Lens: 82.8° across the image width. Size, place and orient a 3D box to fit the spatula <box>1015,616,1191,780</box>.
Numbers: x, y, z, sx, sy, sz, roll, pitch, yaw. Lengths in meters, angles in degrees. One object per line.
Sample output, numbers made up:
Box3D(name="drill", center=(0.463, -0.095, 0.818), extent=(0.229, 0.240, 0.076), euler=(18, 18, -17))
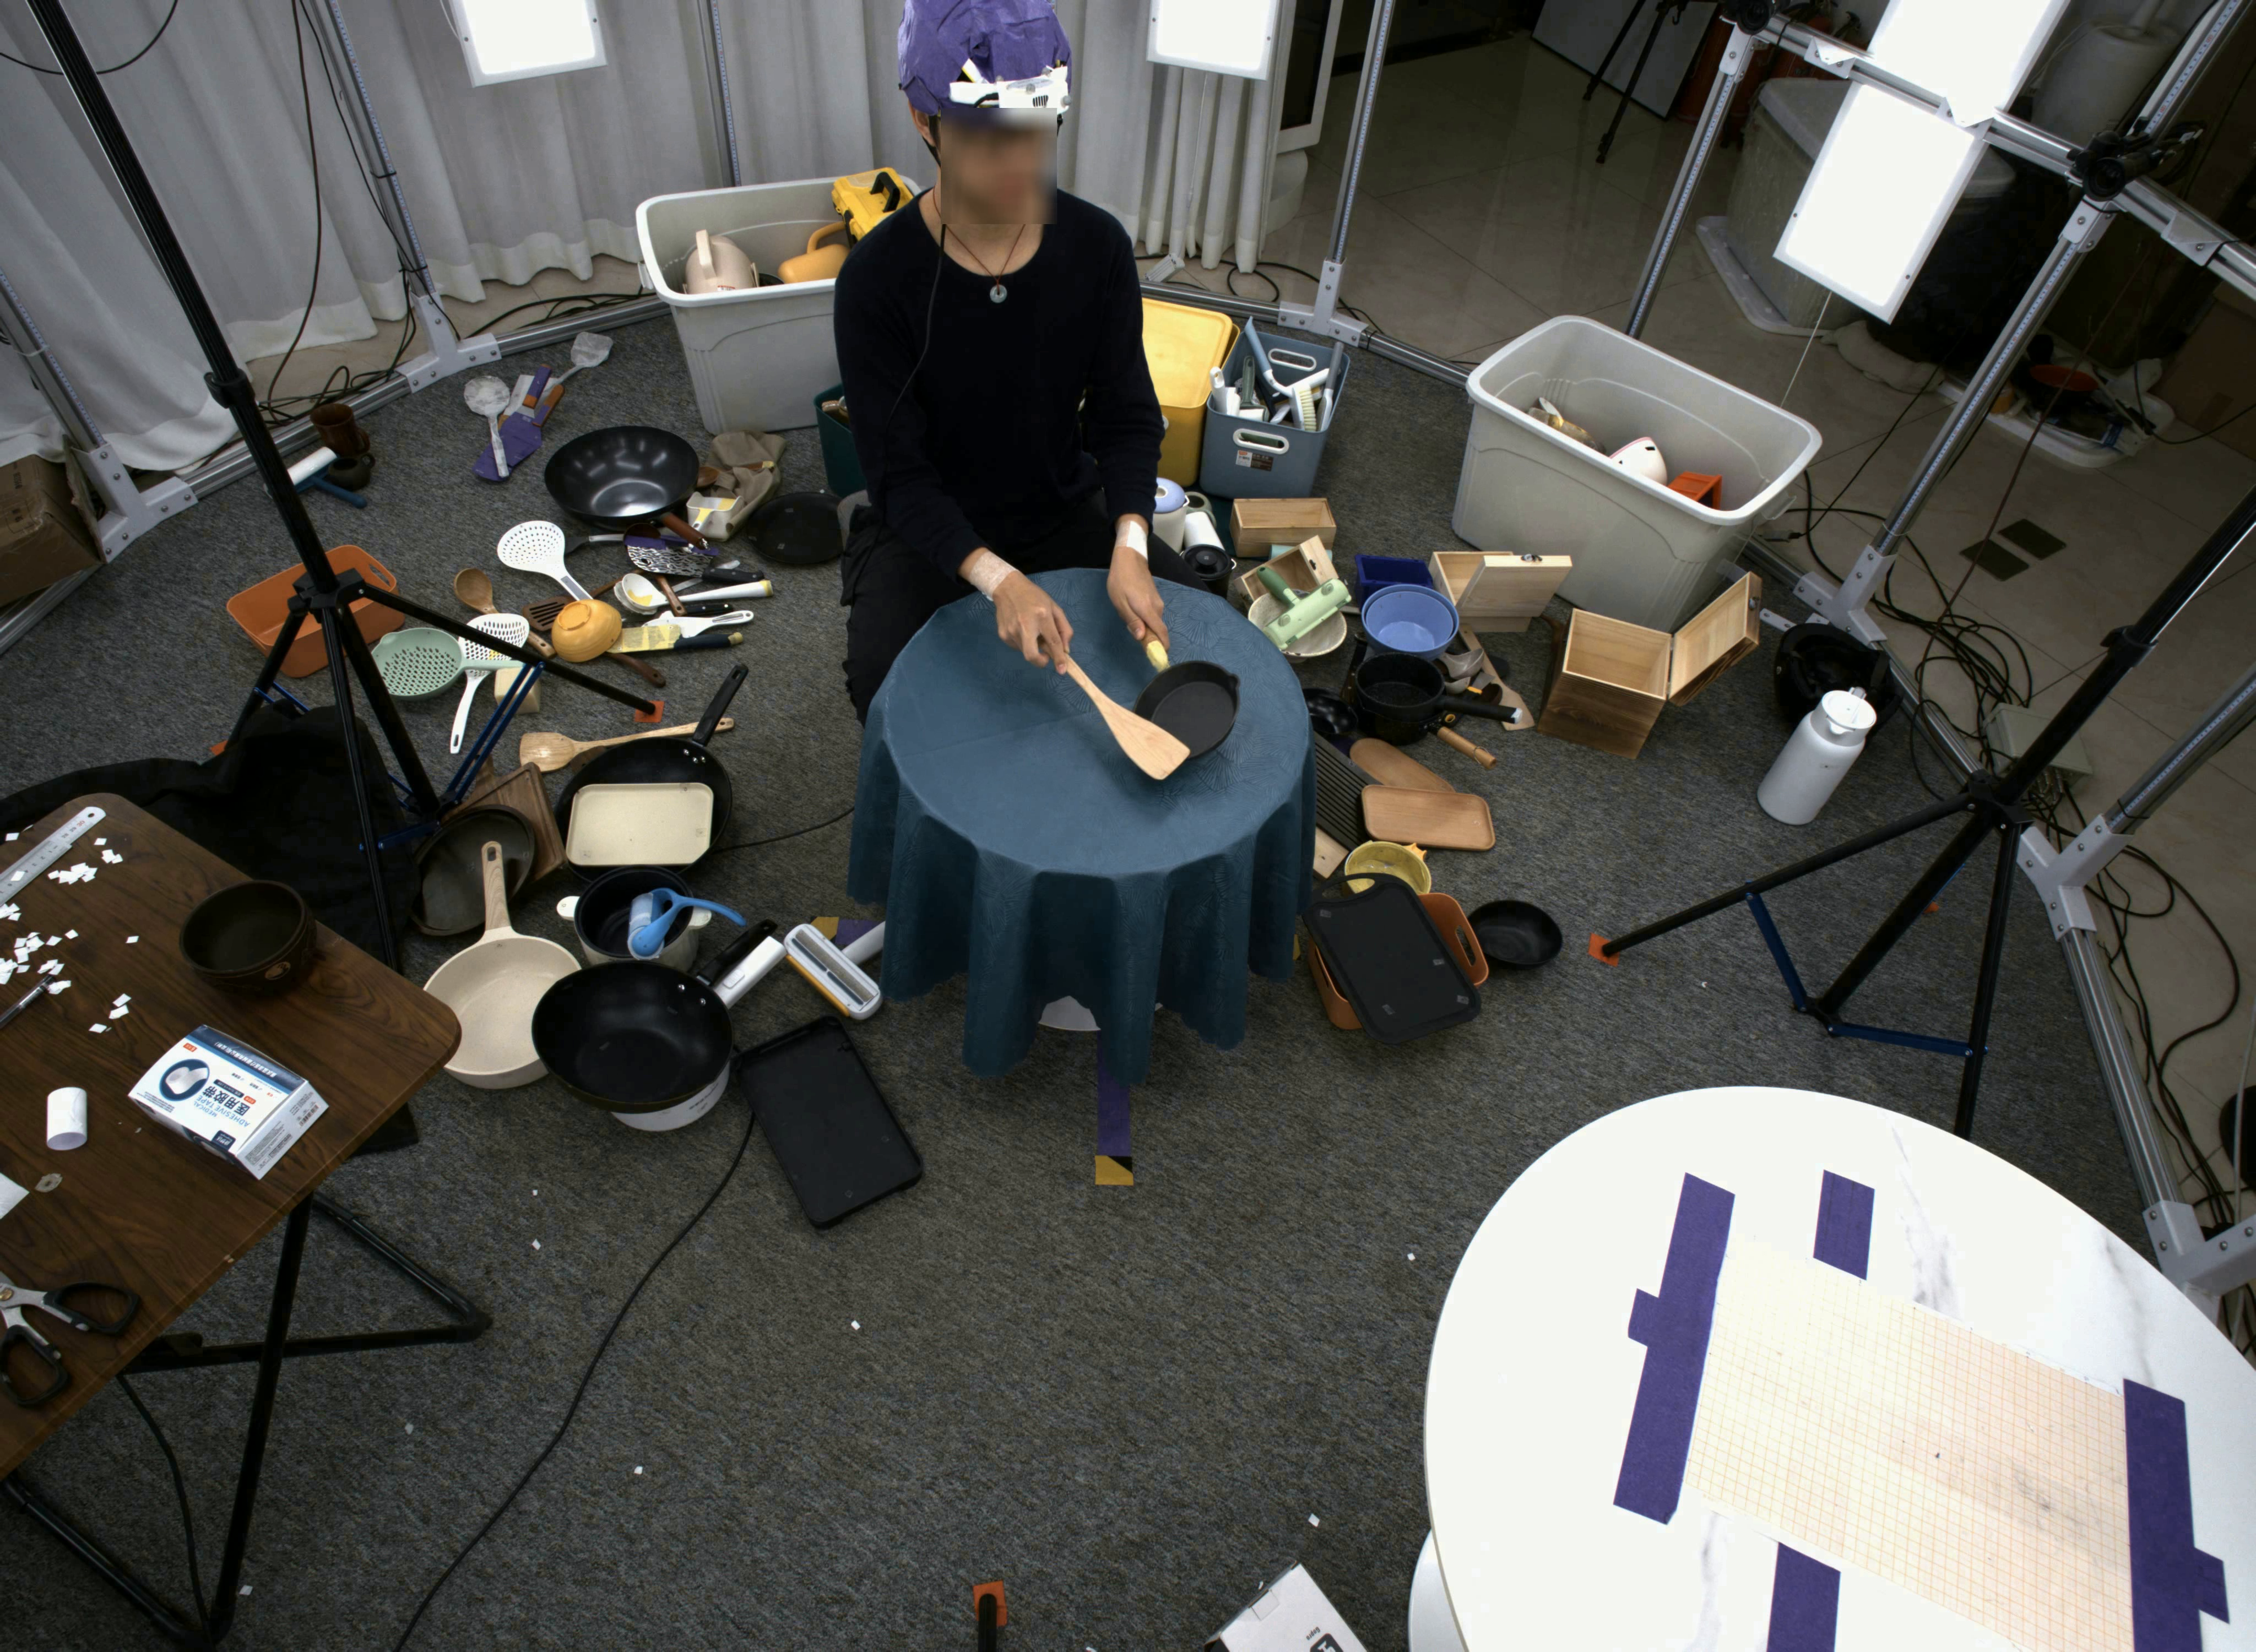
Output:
Box3D(name="spatula", center=(-0.043, -0.182, 1.738), extent=(0.080, 0.016, 0.332), euler=(-31, 67, -33))

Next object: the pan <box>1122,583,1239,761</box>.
Box3D(name="pan", center=(0.054, -0.221, 1.796), extent=(0.168, 0.048, 0.332), euler=(-28, 54, 9))
